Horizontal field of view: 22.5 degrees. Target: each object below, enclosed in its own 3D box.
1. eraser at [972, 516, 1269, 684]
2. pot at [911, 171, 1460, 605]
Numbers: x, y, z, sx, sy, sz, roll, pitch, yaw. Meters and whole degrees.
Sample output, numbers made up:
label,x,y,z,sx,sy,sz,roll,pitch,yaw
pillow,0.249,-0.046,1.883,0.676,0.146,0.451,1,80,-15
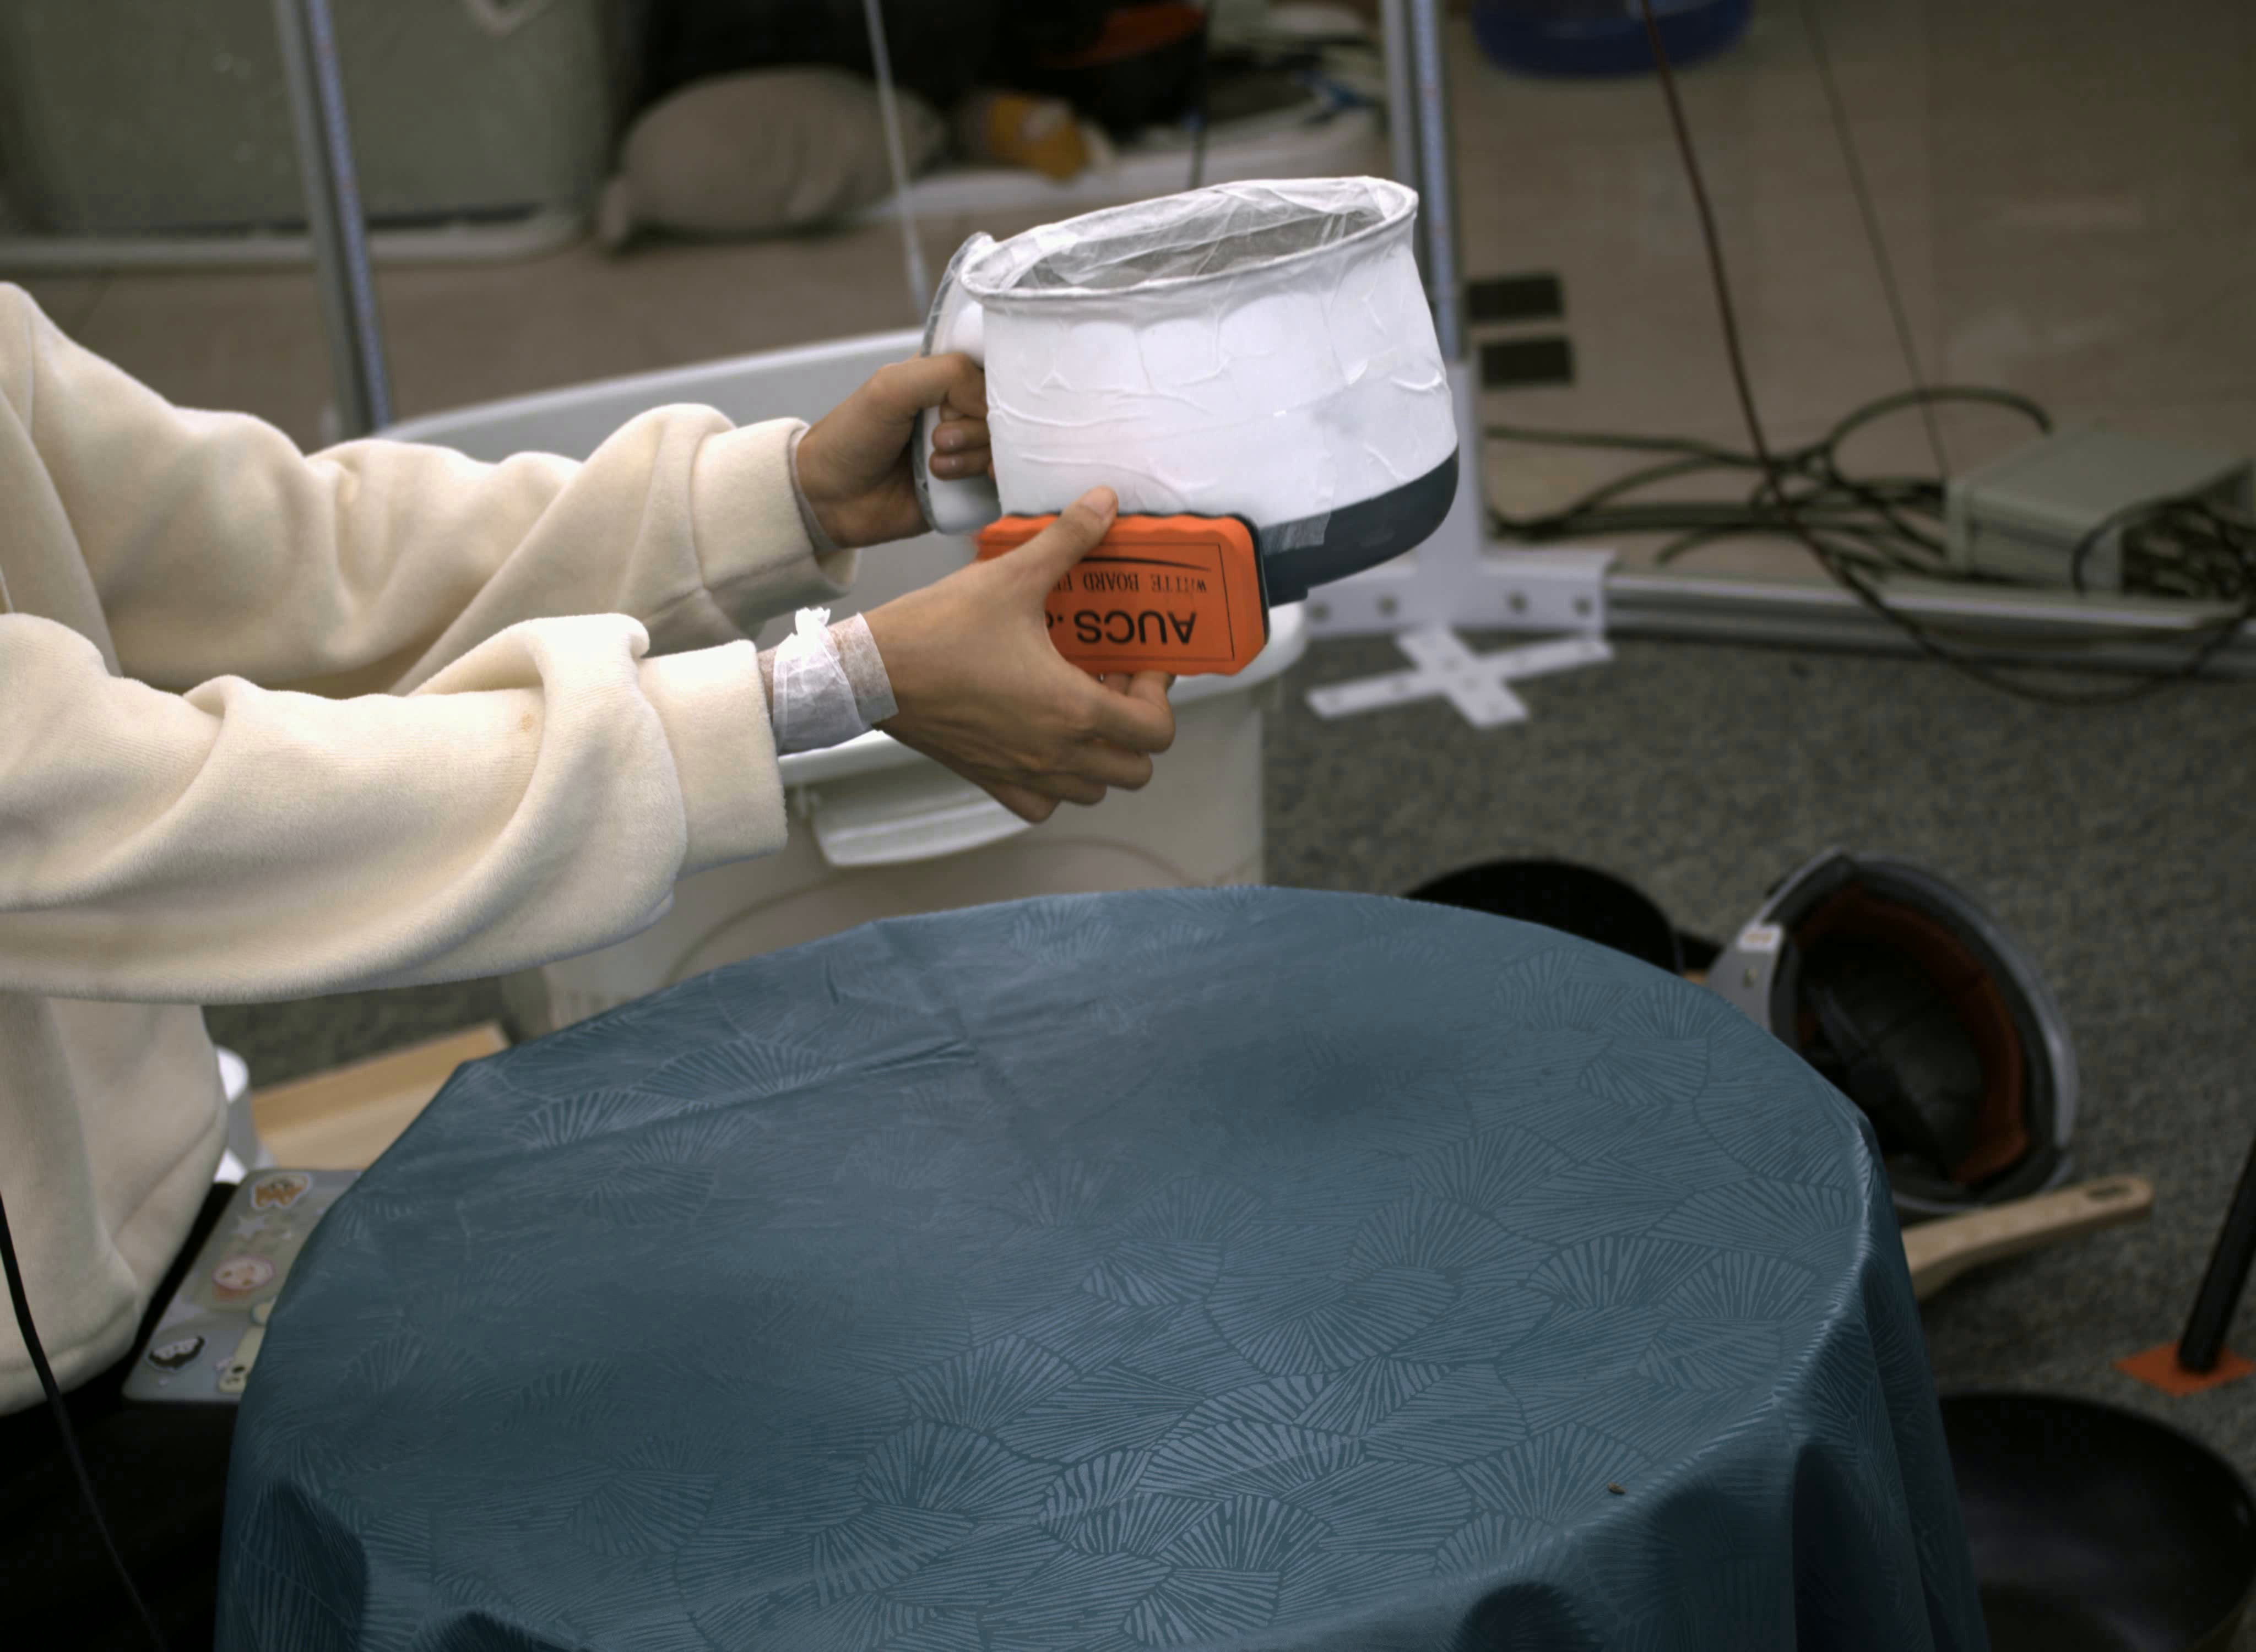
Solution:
label,x,y,z,sx,sy,sz,roll,pitch,yaw
eraser,-0.003,-0.083,2.080,0.108,0.060,0.022,2,23,27
pot,0.011,-0.167,2.165,0.233,0.138,0.177,3,21,34
